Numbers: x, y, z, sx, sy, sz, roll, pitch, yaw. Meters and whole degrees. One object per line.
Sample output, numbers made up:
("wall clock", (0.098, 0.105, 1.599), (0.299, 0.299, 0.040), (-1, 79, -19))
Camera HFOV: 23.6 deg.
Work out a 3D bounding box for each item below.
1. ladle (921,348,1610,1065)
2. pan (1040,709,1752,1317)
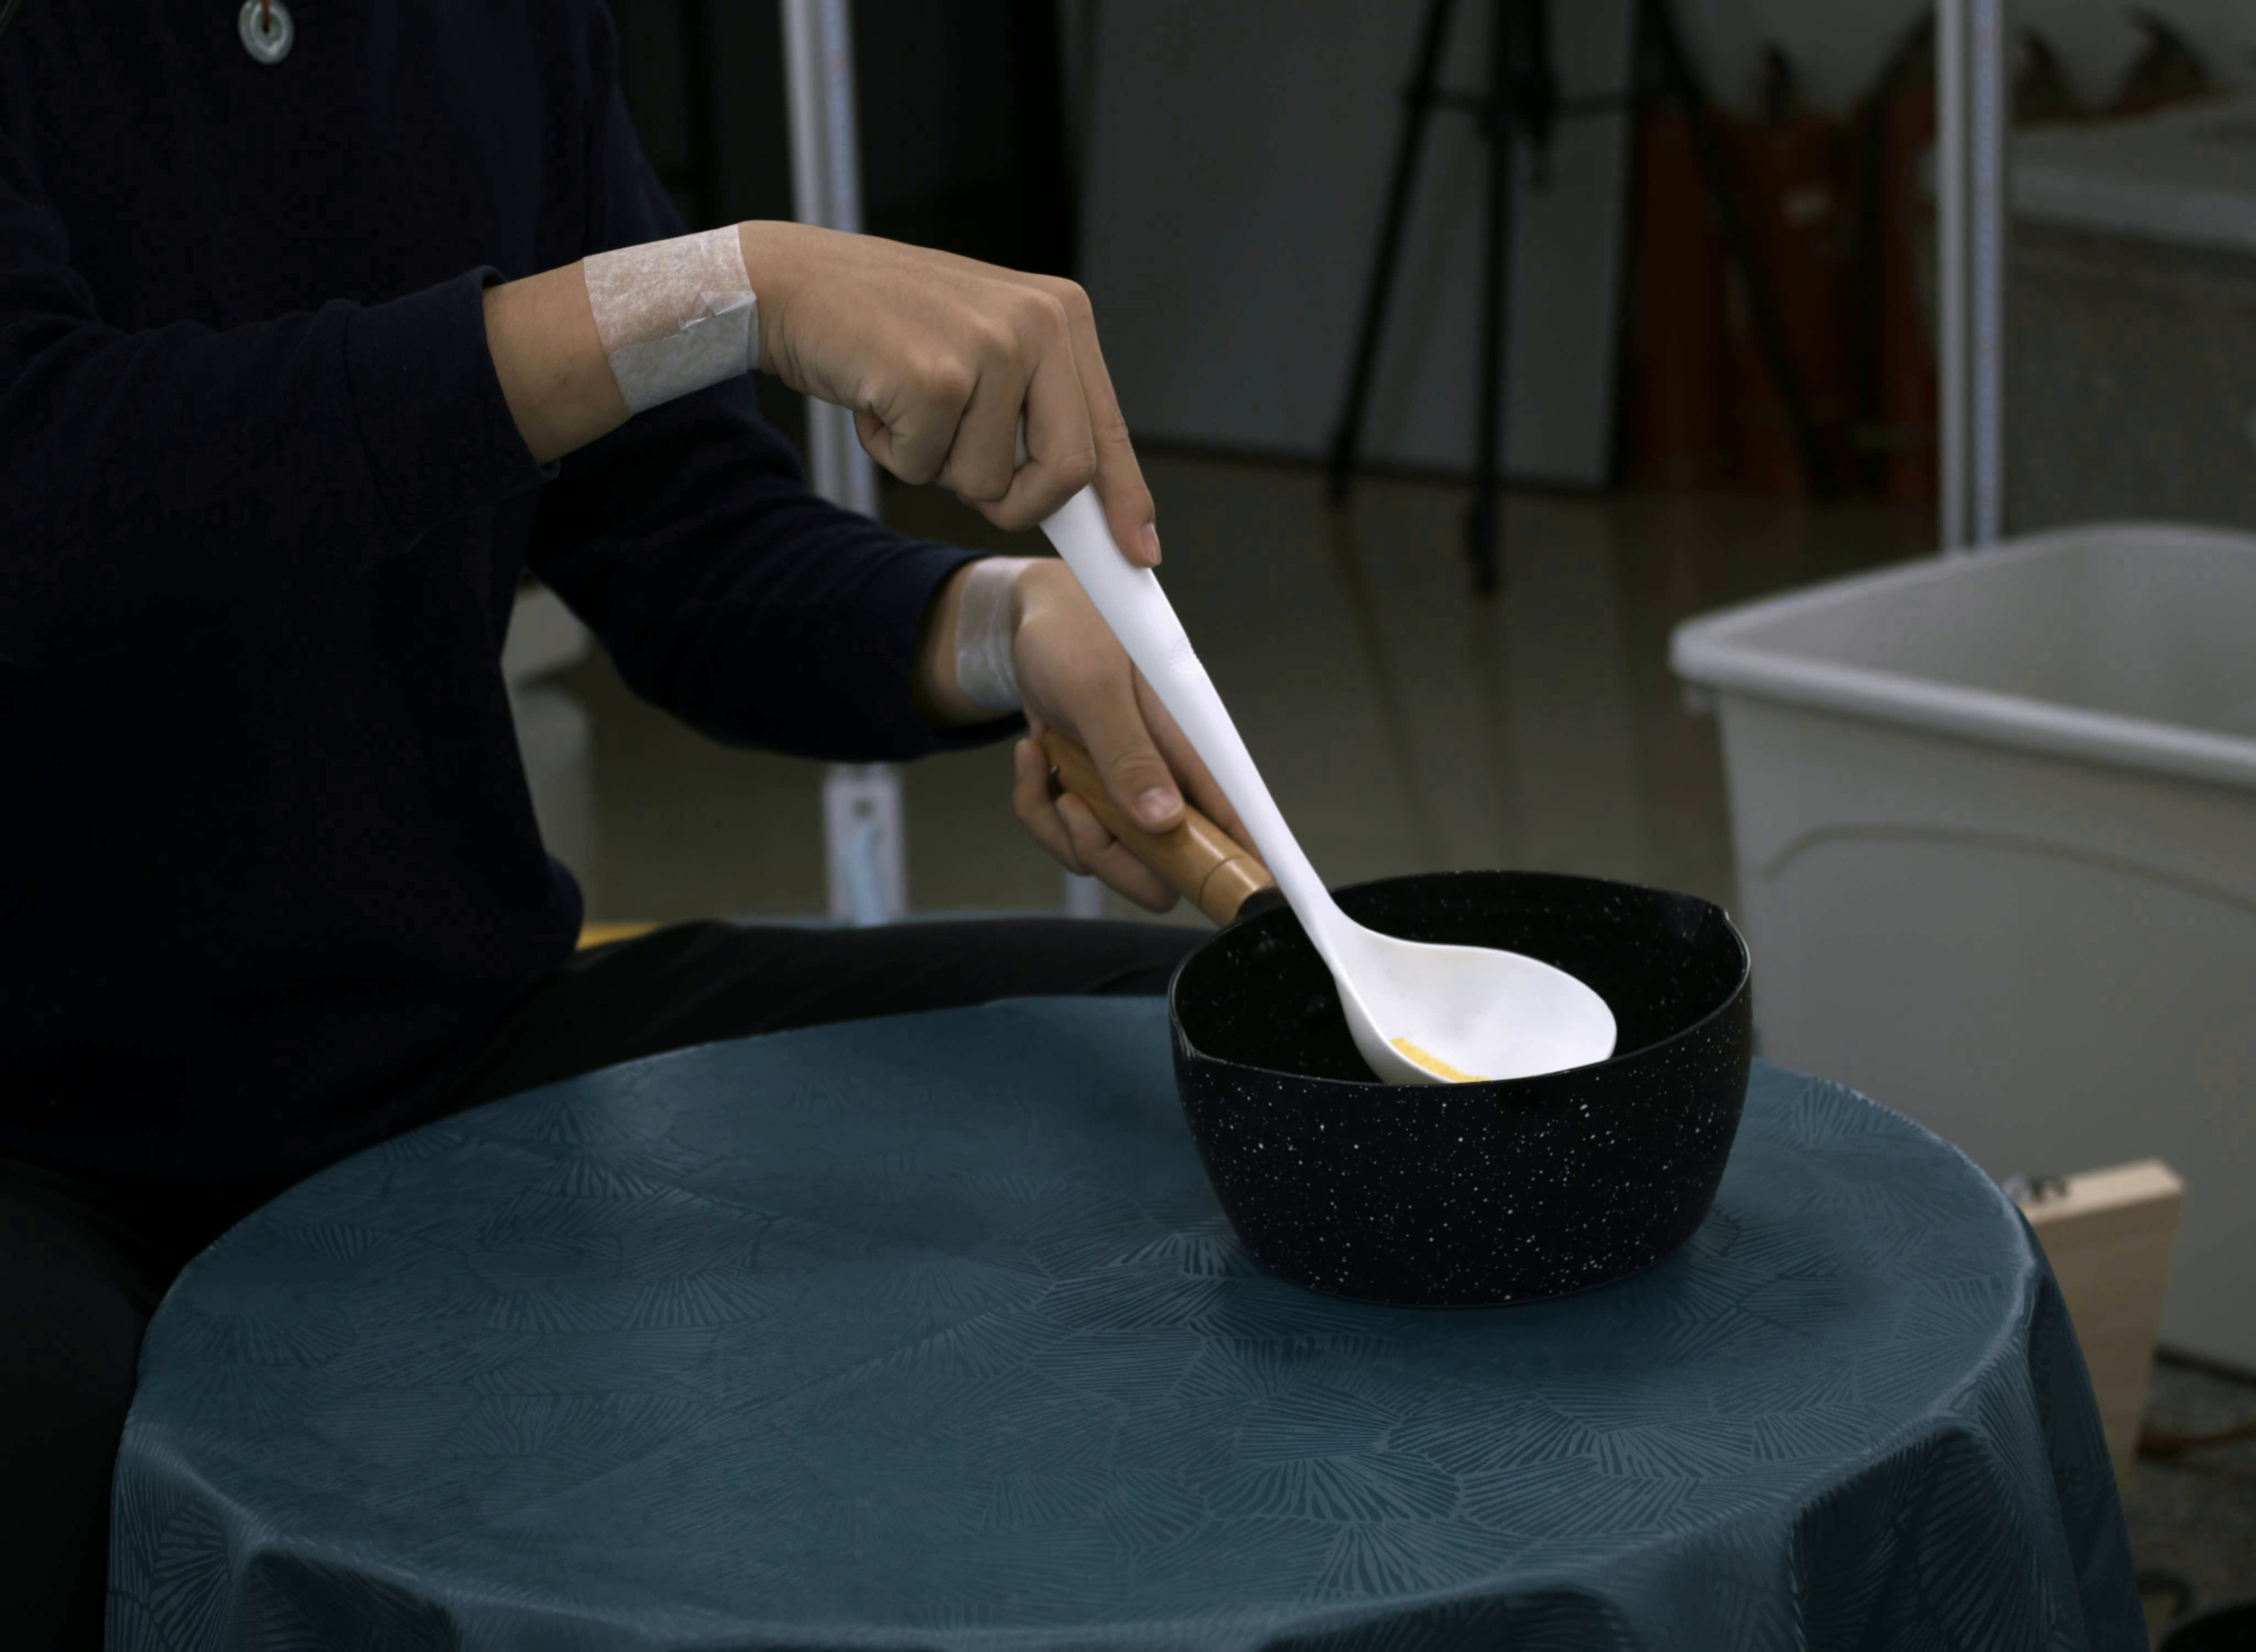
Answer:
("ladle", (0.038, -0.029, 1.684), (0.089, 0.294, 0.070), (-32, -3, -43))
("pan", (0.064, 0.054, 1.754), (0.203, 0.109, 0.346), (-17, 23, -27))
